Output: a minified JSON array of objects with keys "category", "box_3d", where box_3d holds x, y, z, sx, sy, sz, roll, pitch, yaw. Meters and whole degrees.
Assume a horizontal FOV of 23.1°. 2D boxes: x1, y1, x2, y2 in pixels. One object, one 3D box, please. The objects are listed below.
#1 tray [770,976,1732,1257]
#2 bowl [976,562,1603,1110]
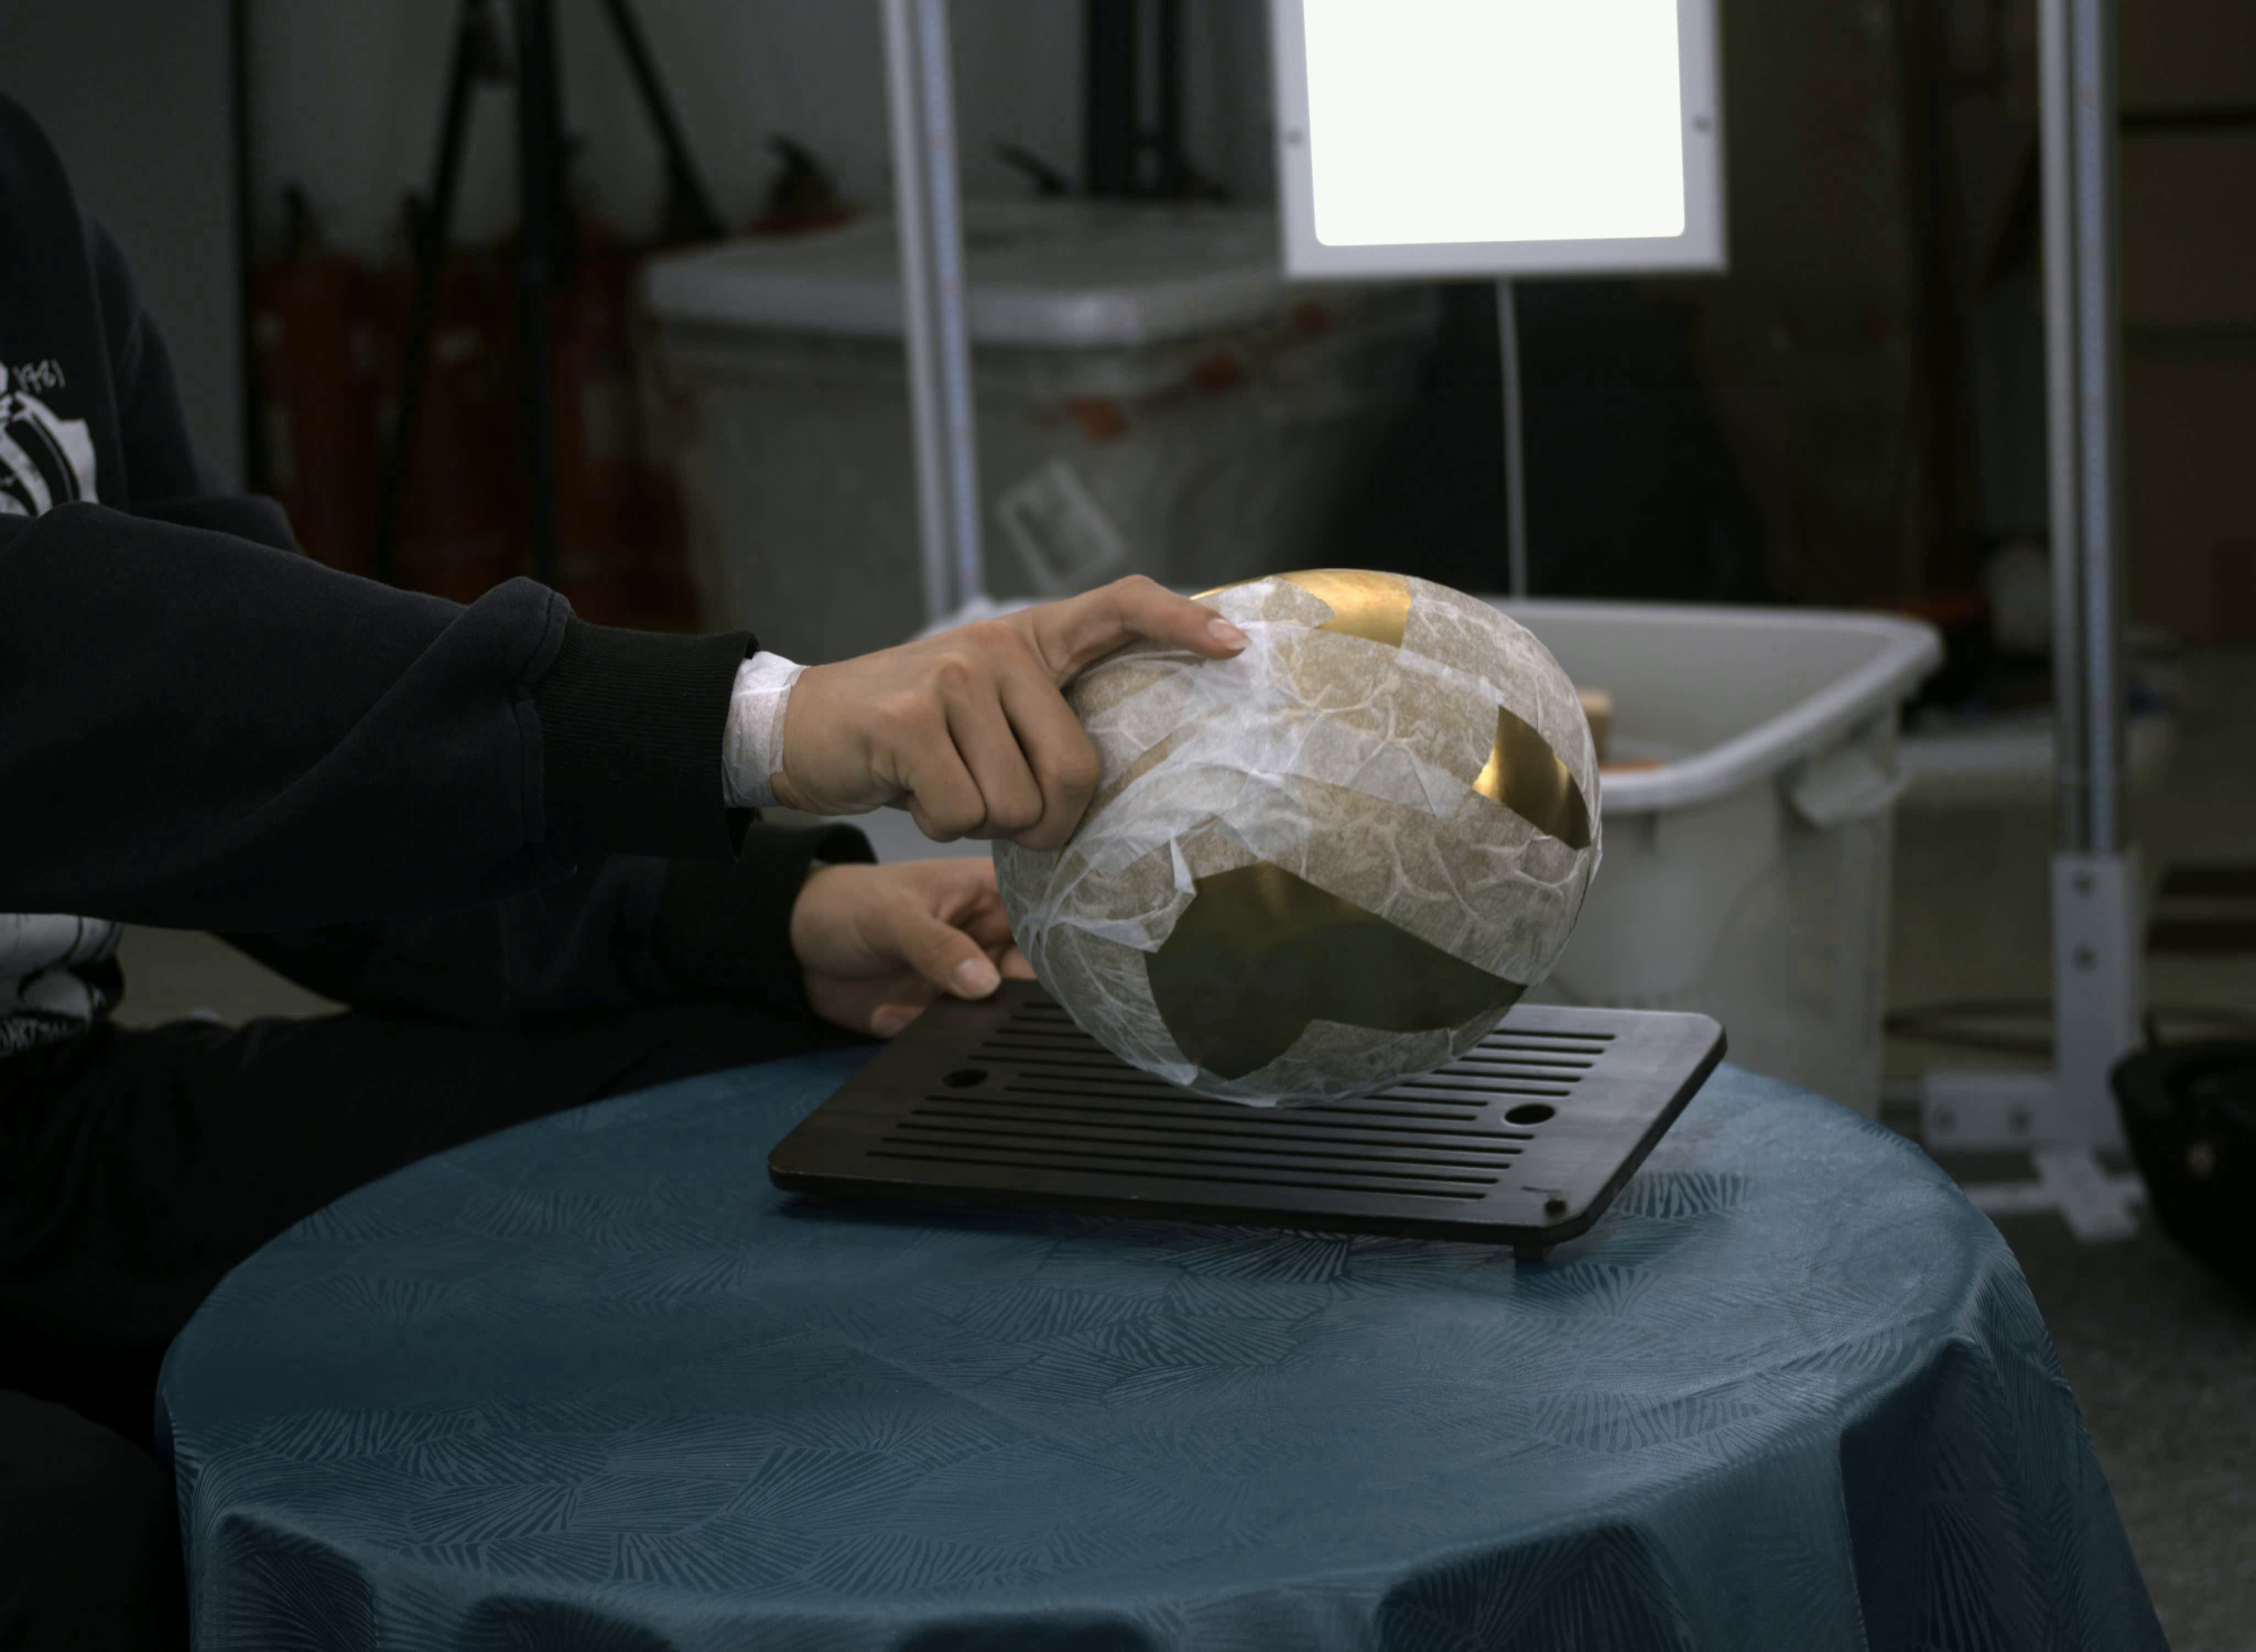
[{"category":"tray","box_3d":[0.043,0.099,1.913,0.311,0.018,0.166,2,23,27]},{"category":"bowl","box_3d":[0.057,0.024,1.773,0.213,0.216,0.094,-5,43,-4]}]
